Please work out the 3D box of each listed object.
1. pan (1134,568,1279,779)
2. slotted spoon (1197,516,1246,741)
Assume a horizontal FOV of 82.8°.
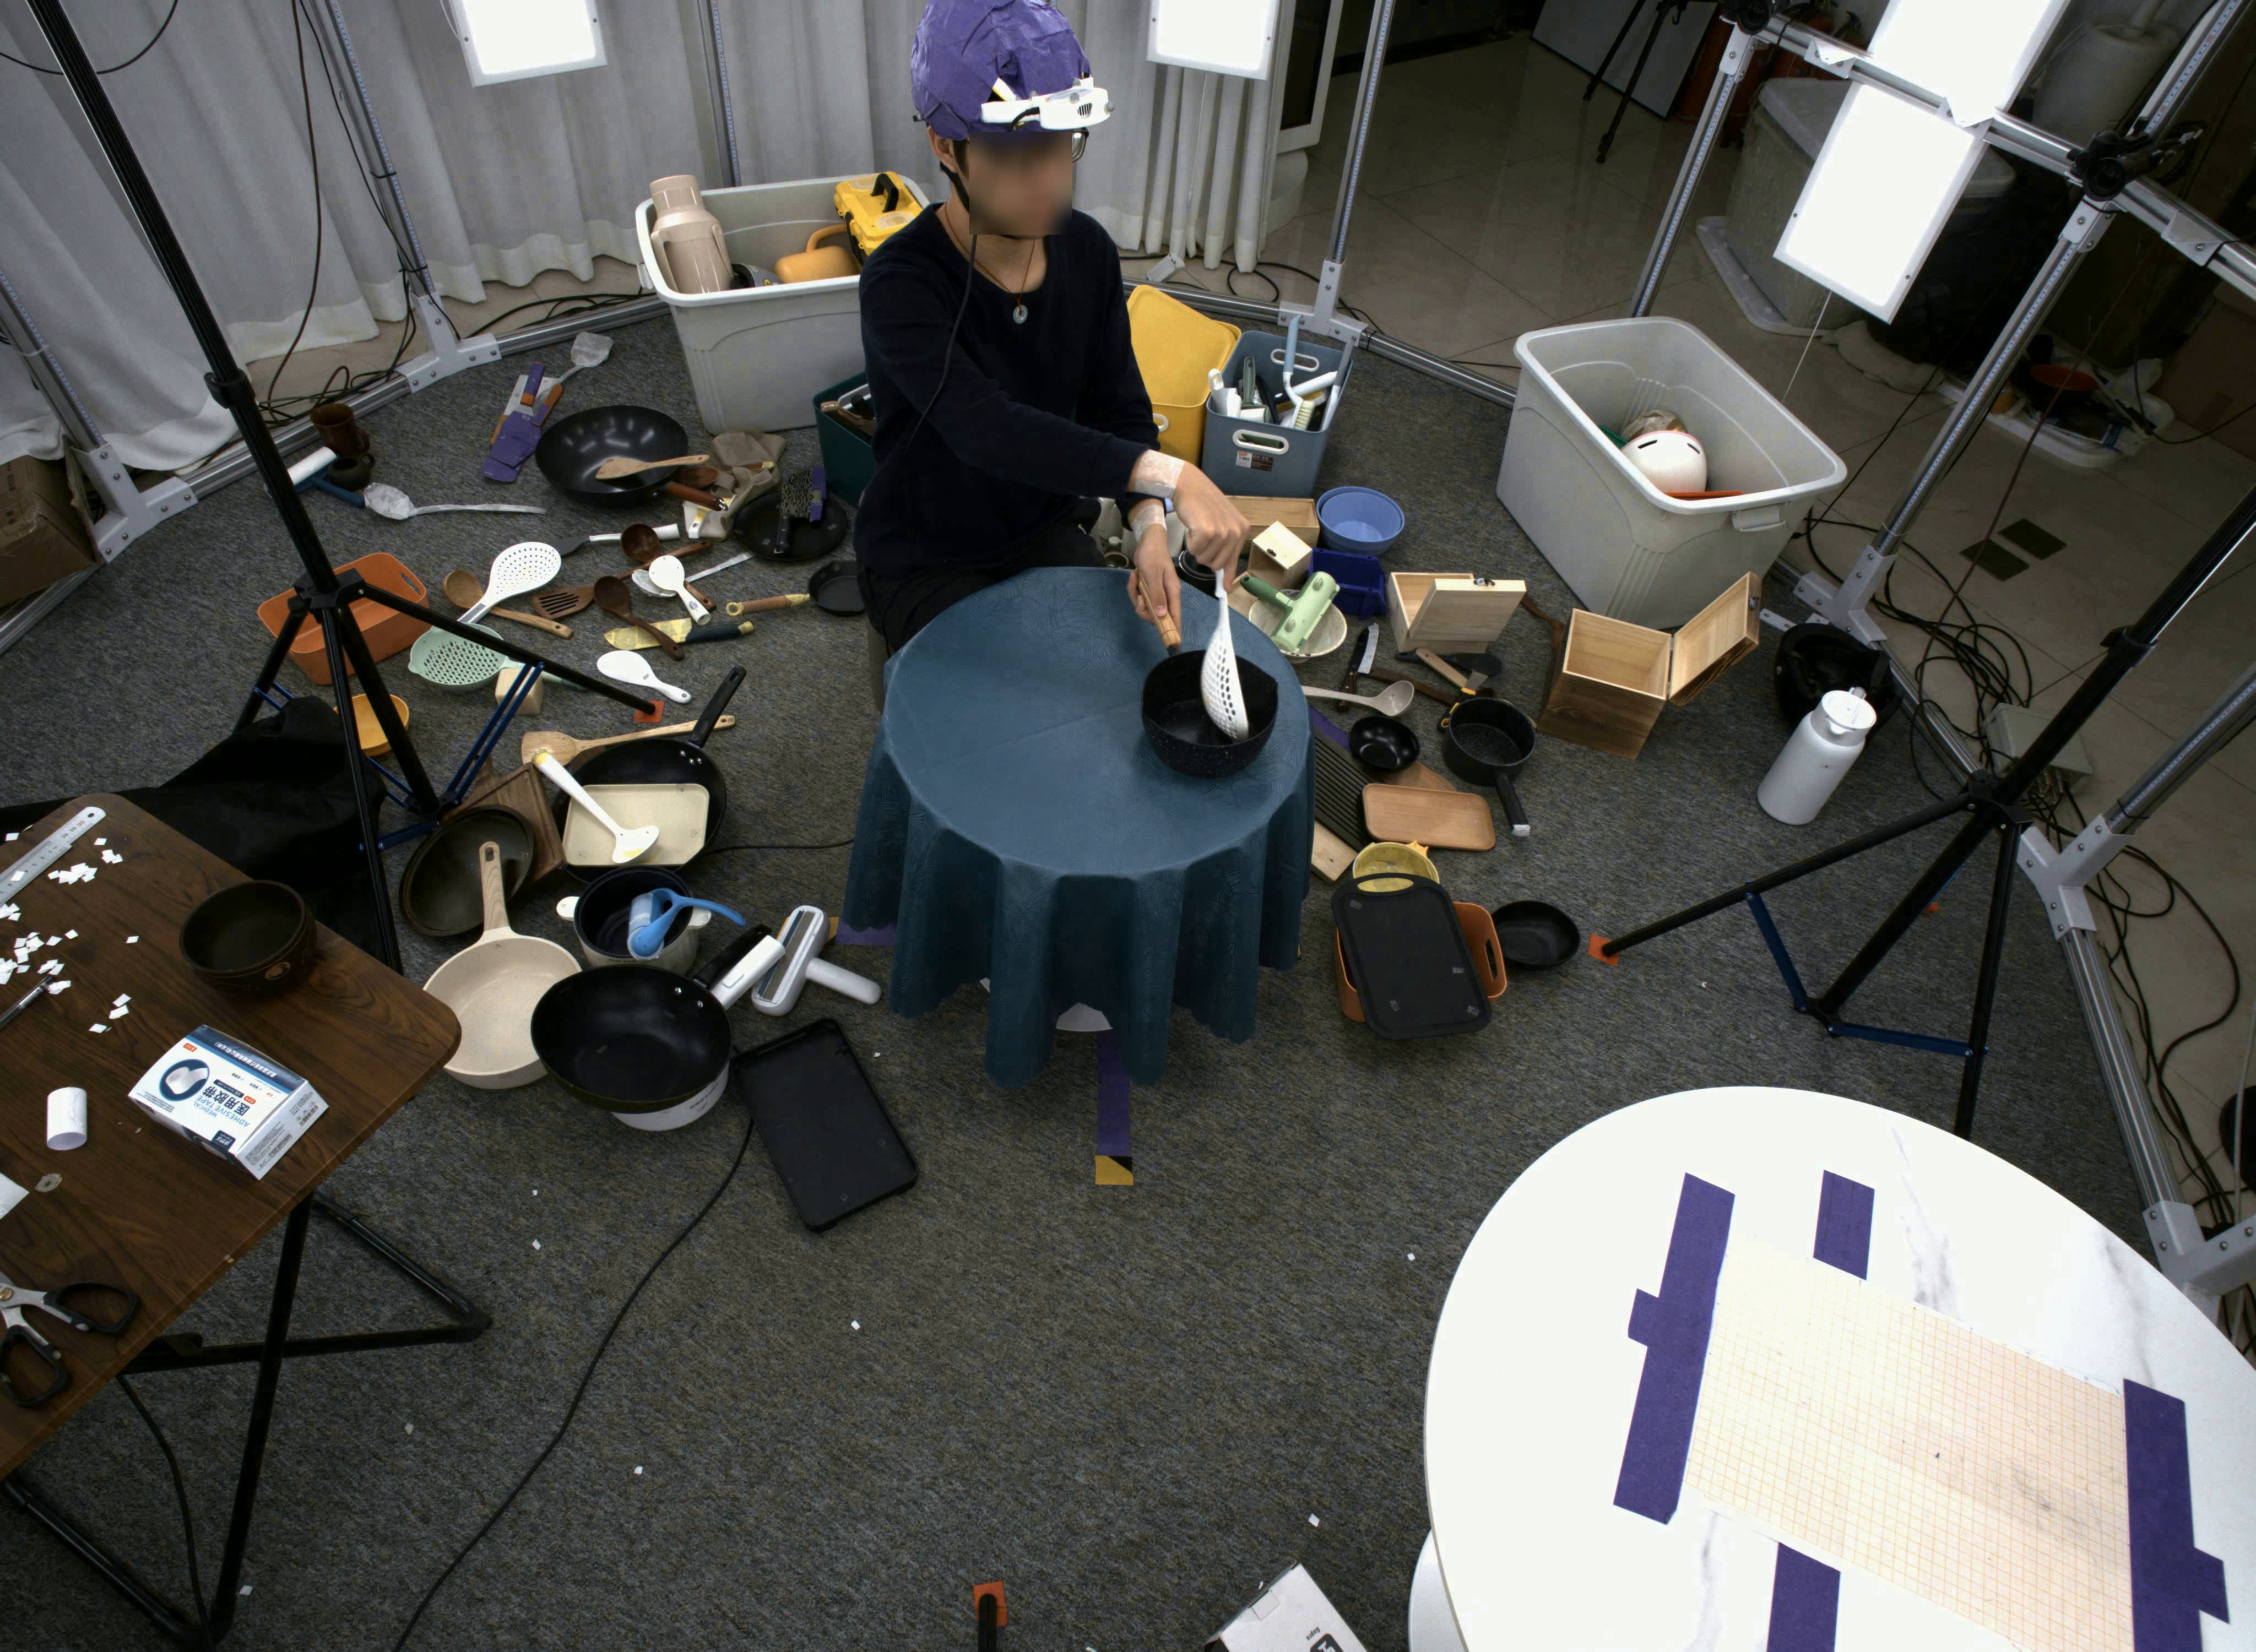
[{"bbox_3d":[0.078,-0.213,1.789,0.207,0.105,0.351,-16,53,-16],"label":"pan"},{"bbox_3d":[0.114,-0.255,1.664,0.050,0.339,0.140,-12,44,-10],"label":"slotted spoon"}]
